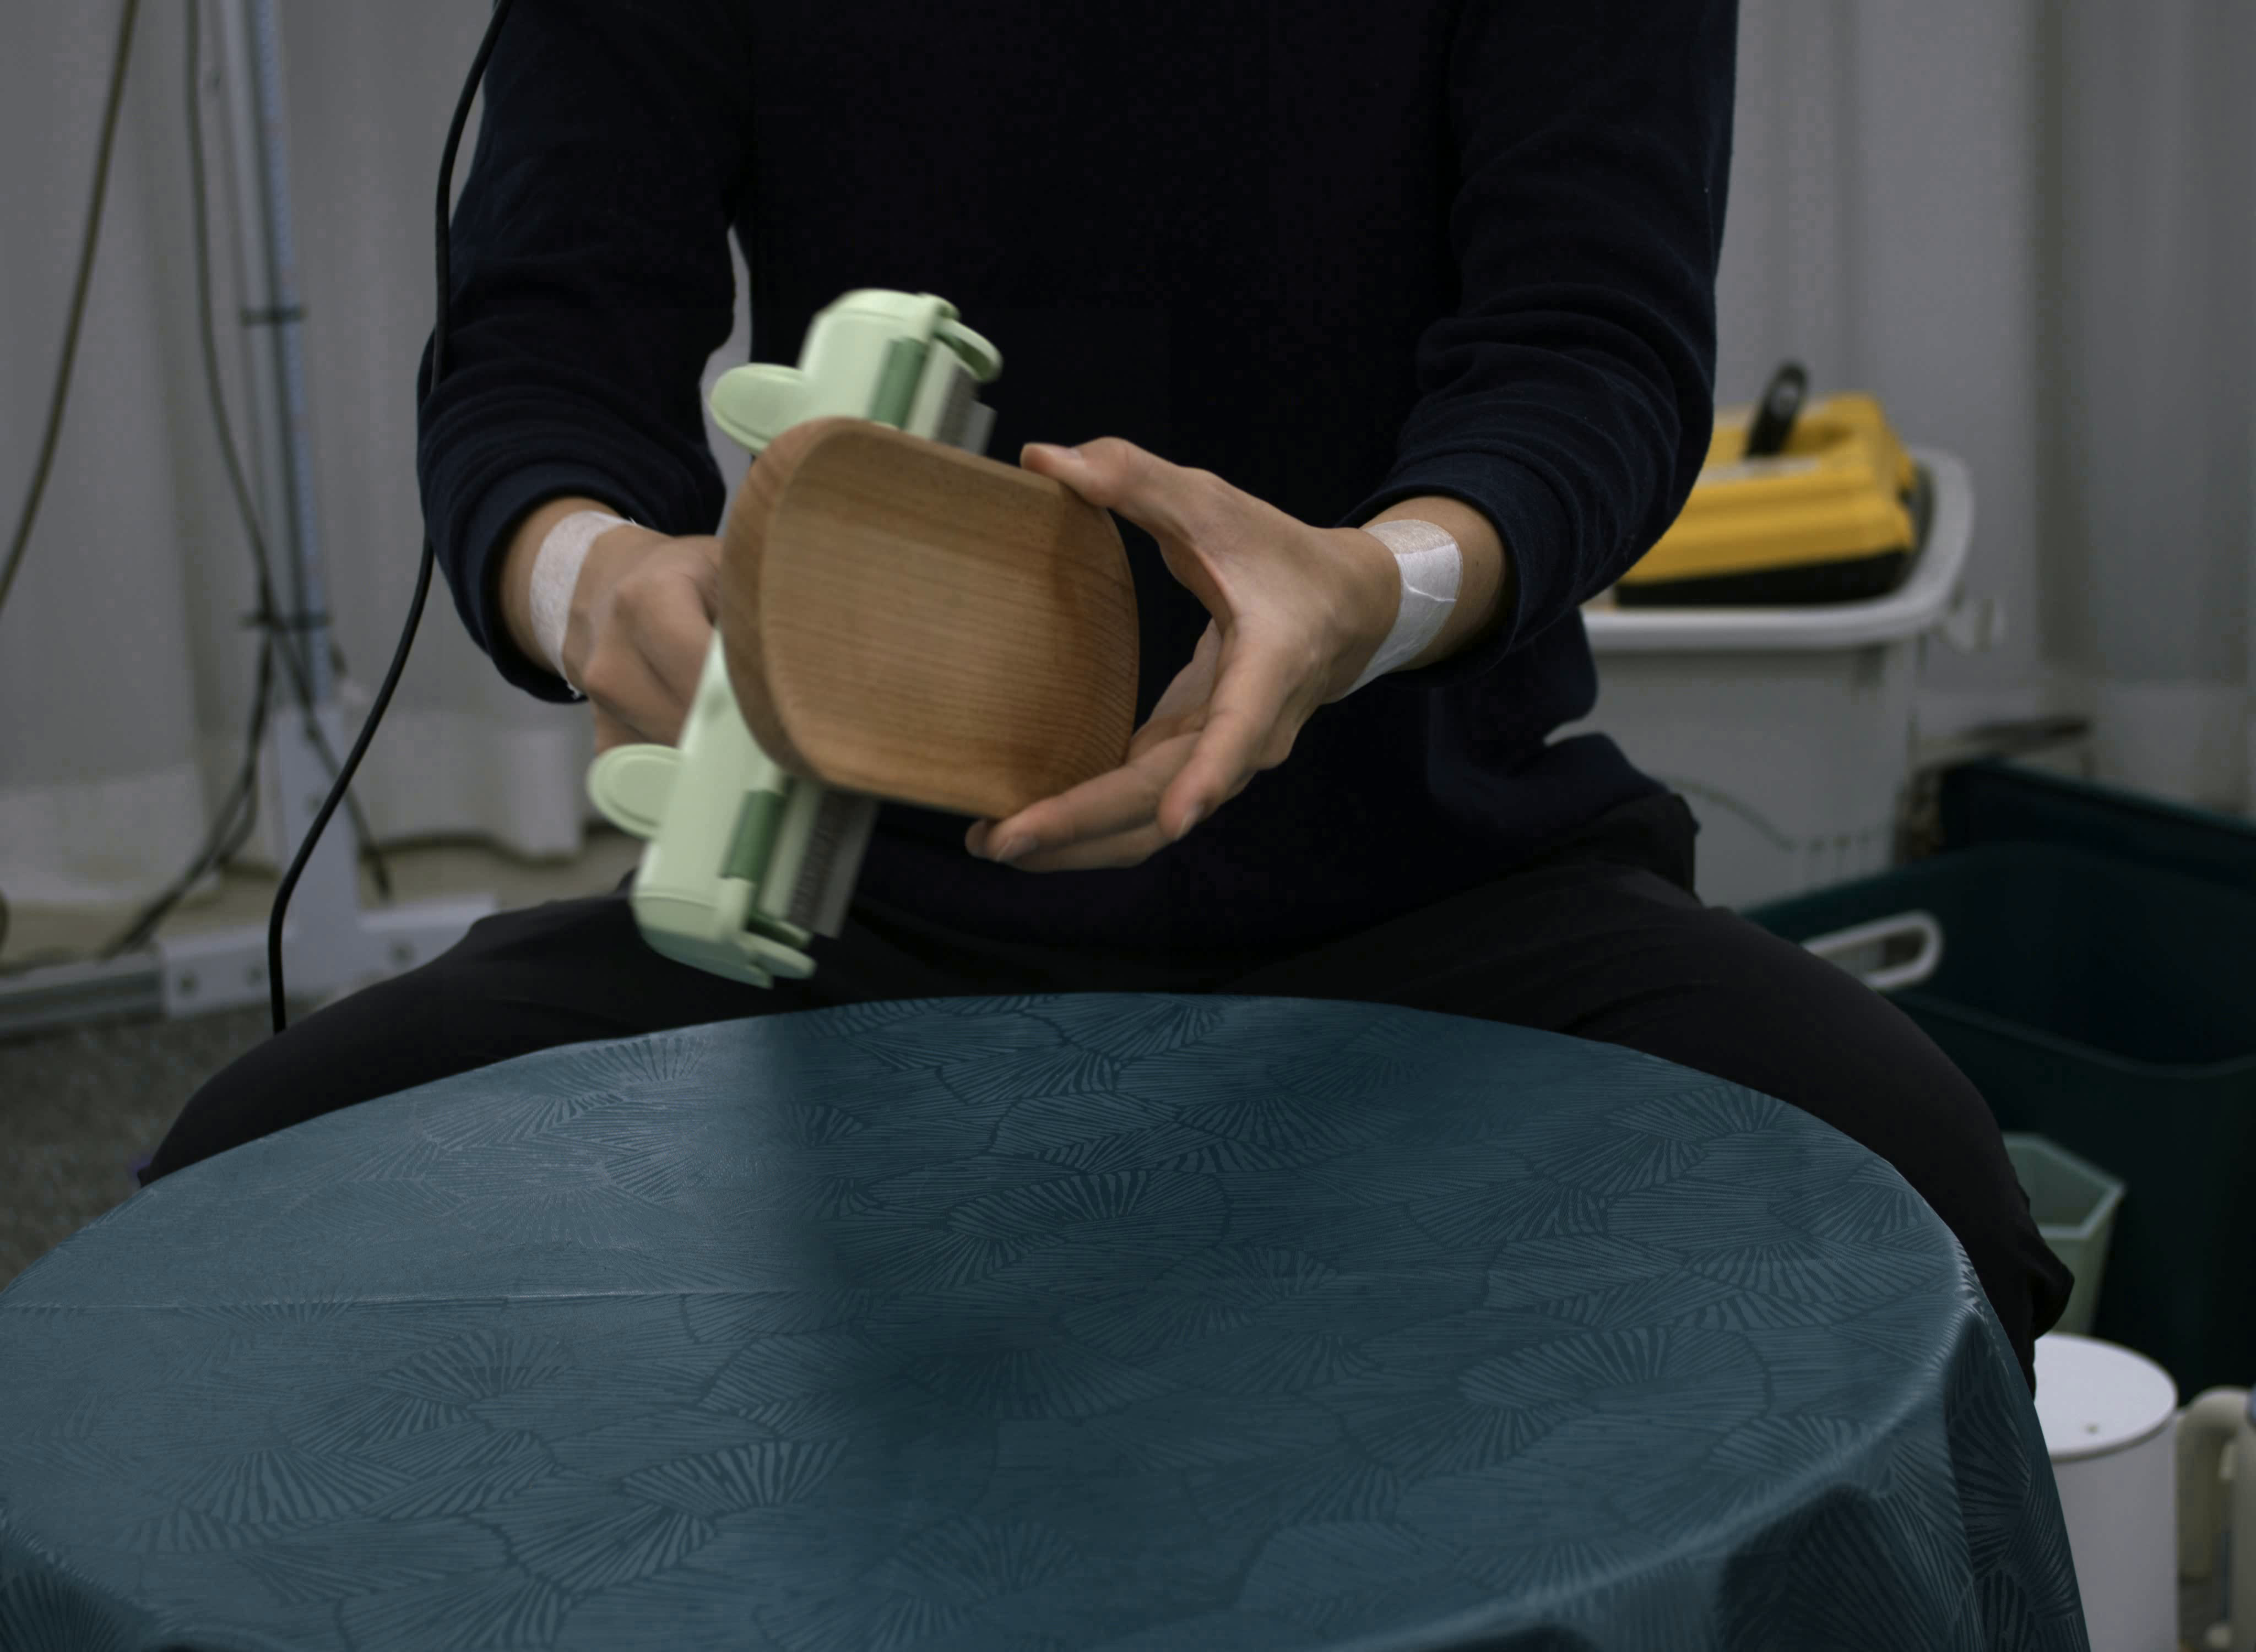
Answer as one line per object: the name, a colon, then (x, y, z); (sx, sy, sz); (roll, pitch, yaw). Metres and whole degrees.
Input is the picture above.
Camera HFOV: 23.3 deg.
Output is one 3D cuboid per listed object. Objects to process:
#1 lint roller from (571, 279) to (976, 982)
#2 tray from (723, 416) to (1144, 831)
lint roller: (-0.122, -0.053, 1.581); (0.081, 0.200, 0.183); (23, -15, -22)
tray: (-0.051, -0.054, 1.526); (0.020, 0.102, 0.230); (1, -4, 25)
